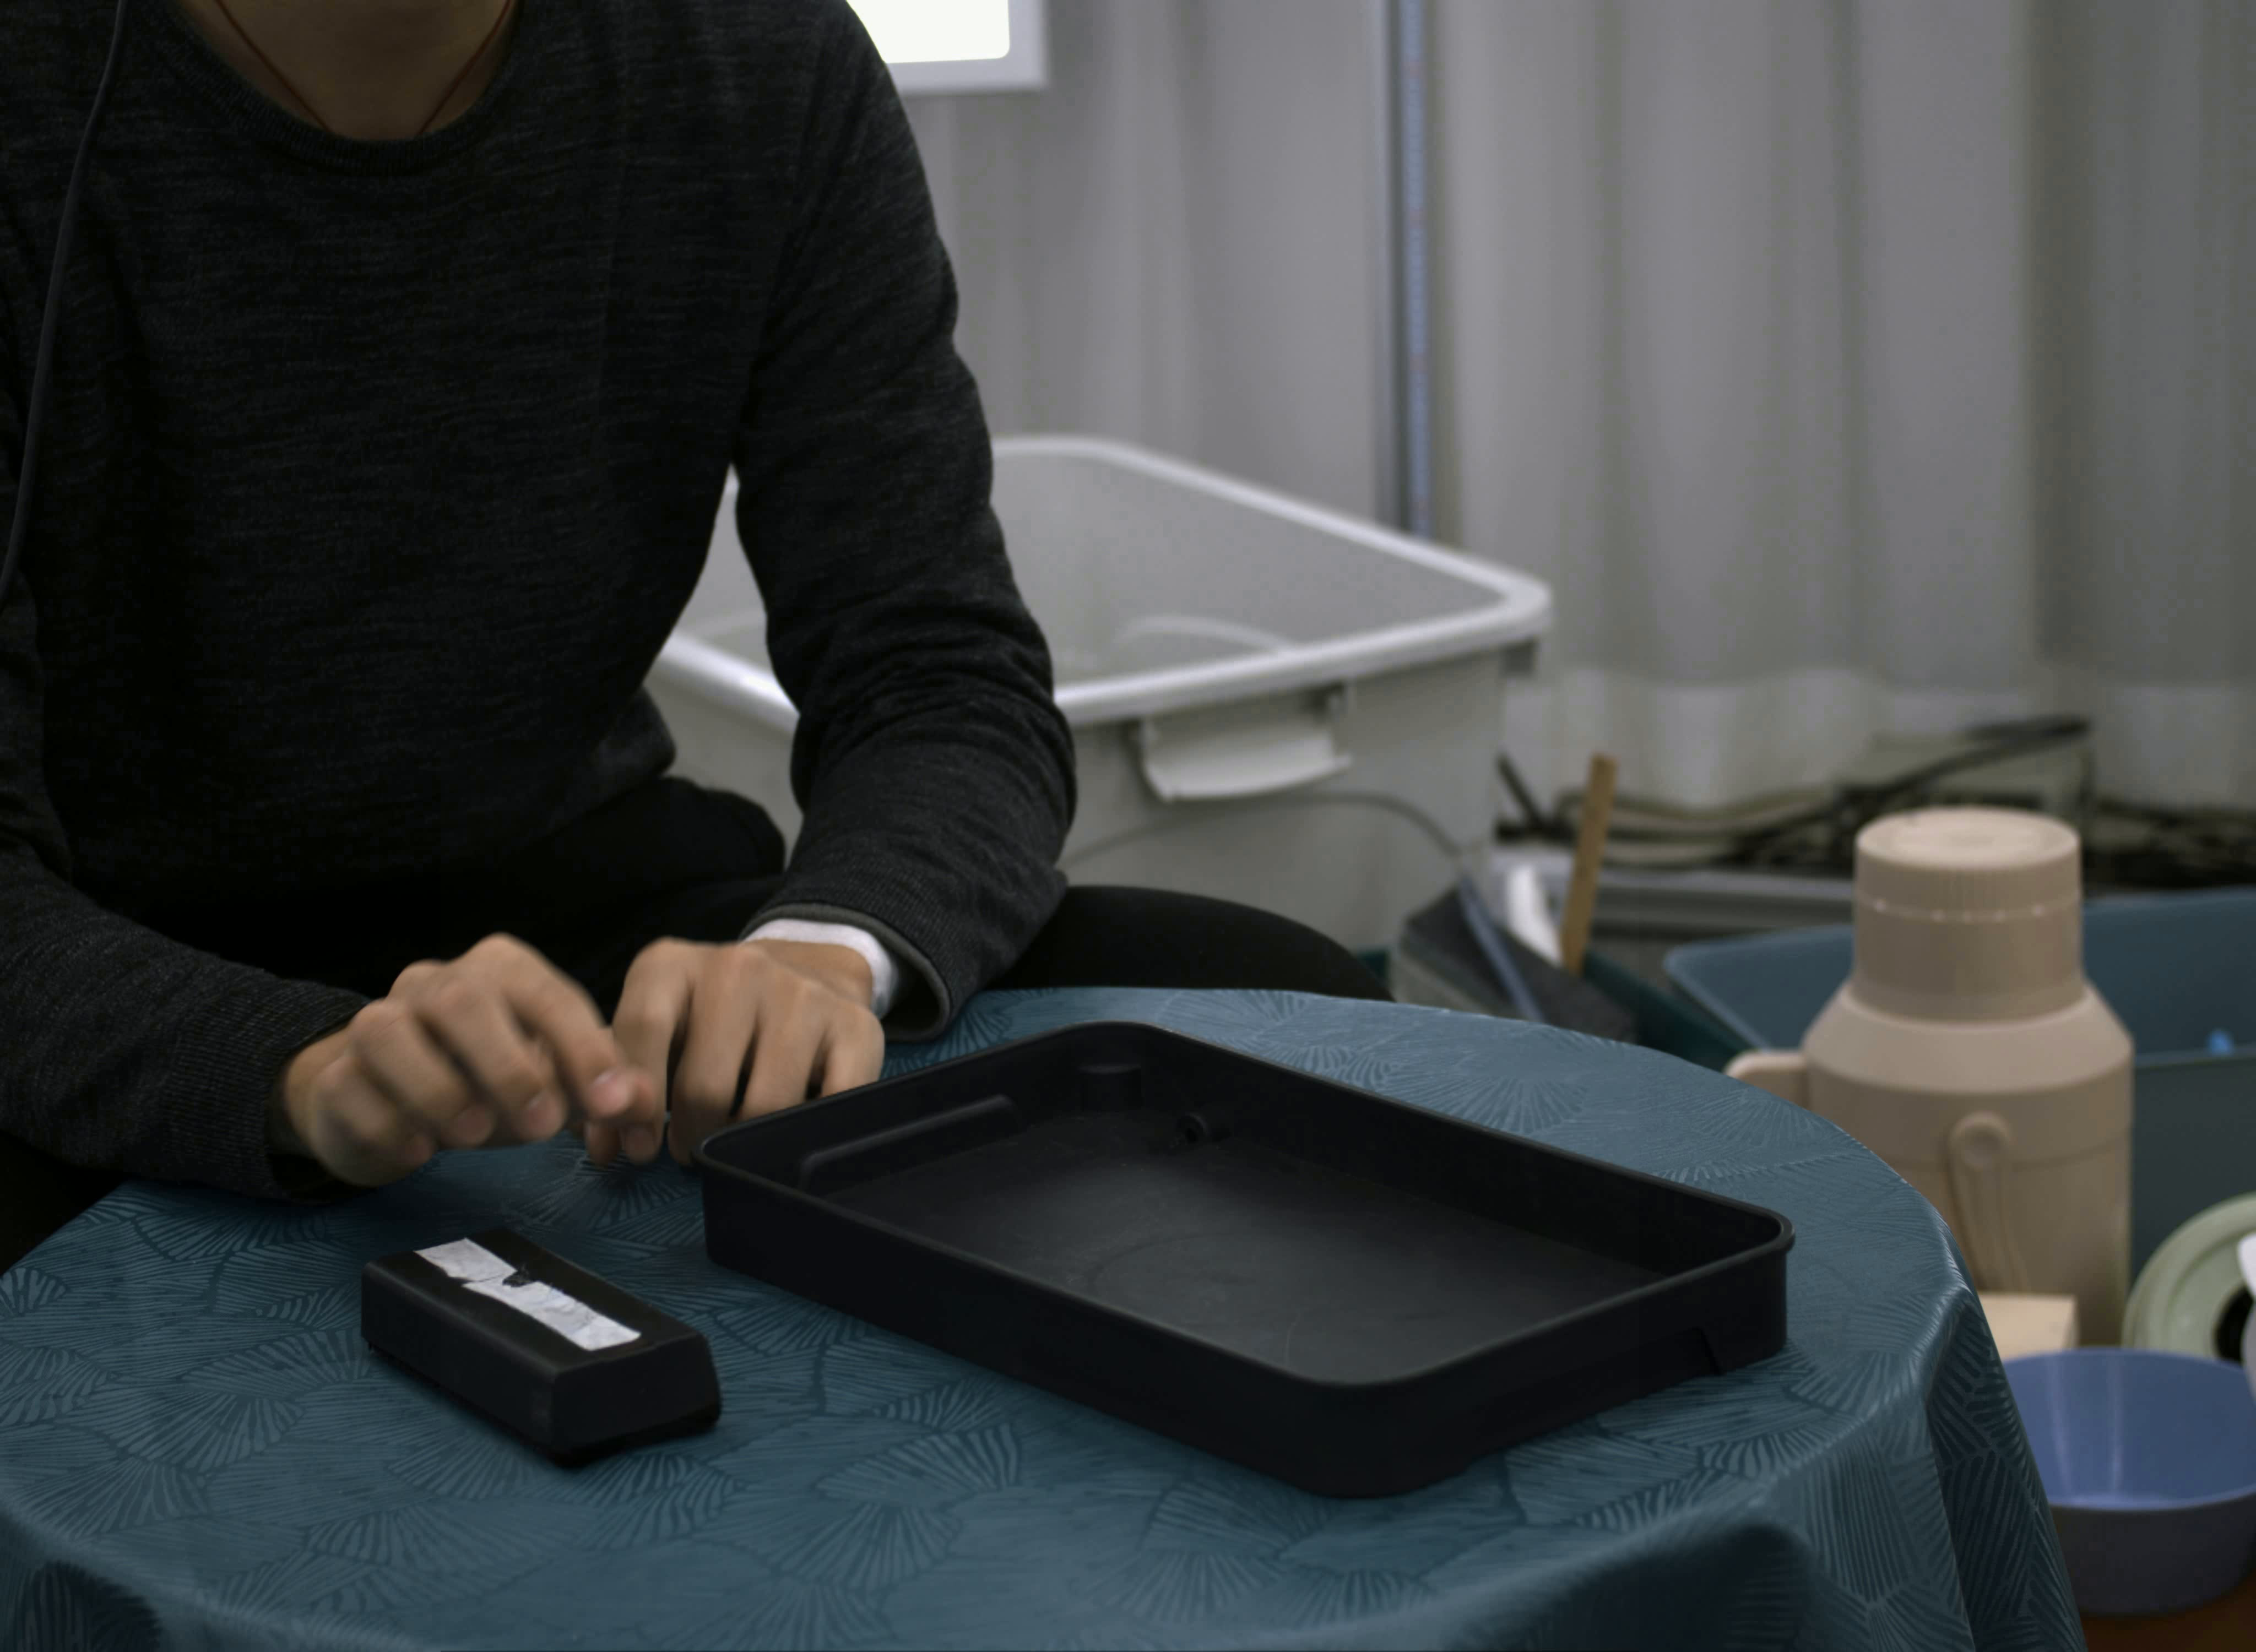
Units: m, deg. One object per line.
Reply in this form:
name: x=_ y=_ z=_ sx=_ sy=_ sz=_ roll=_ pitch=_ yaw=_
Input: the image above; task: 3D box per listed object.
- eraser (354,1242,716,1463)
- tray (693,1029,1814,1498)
eraser: x=-0.170 y=0.149 z=1.563 sx=0.053 sy=0.030 sz=0.126 roll=-10 pitch=15 yaw=-33
tray: x=0.032 y=0.123 z=1.610 sx=0.184 sy=0.037 sz=0.320 roll=-15 pitch=18 yaw=-39
